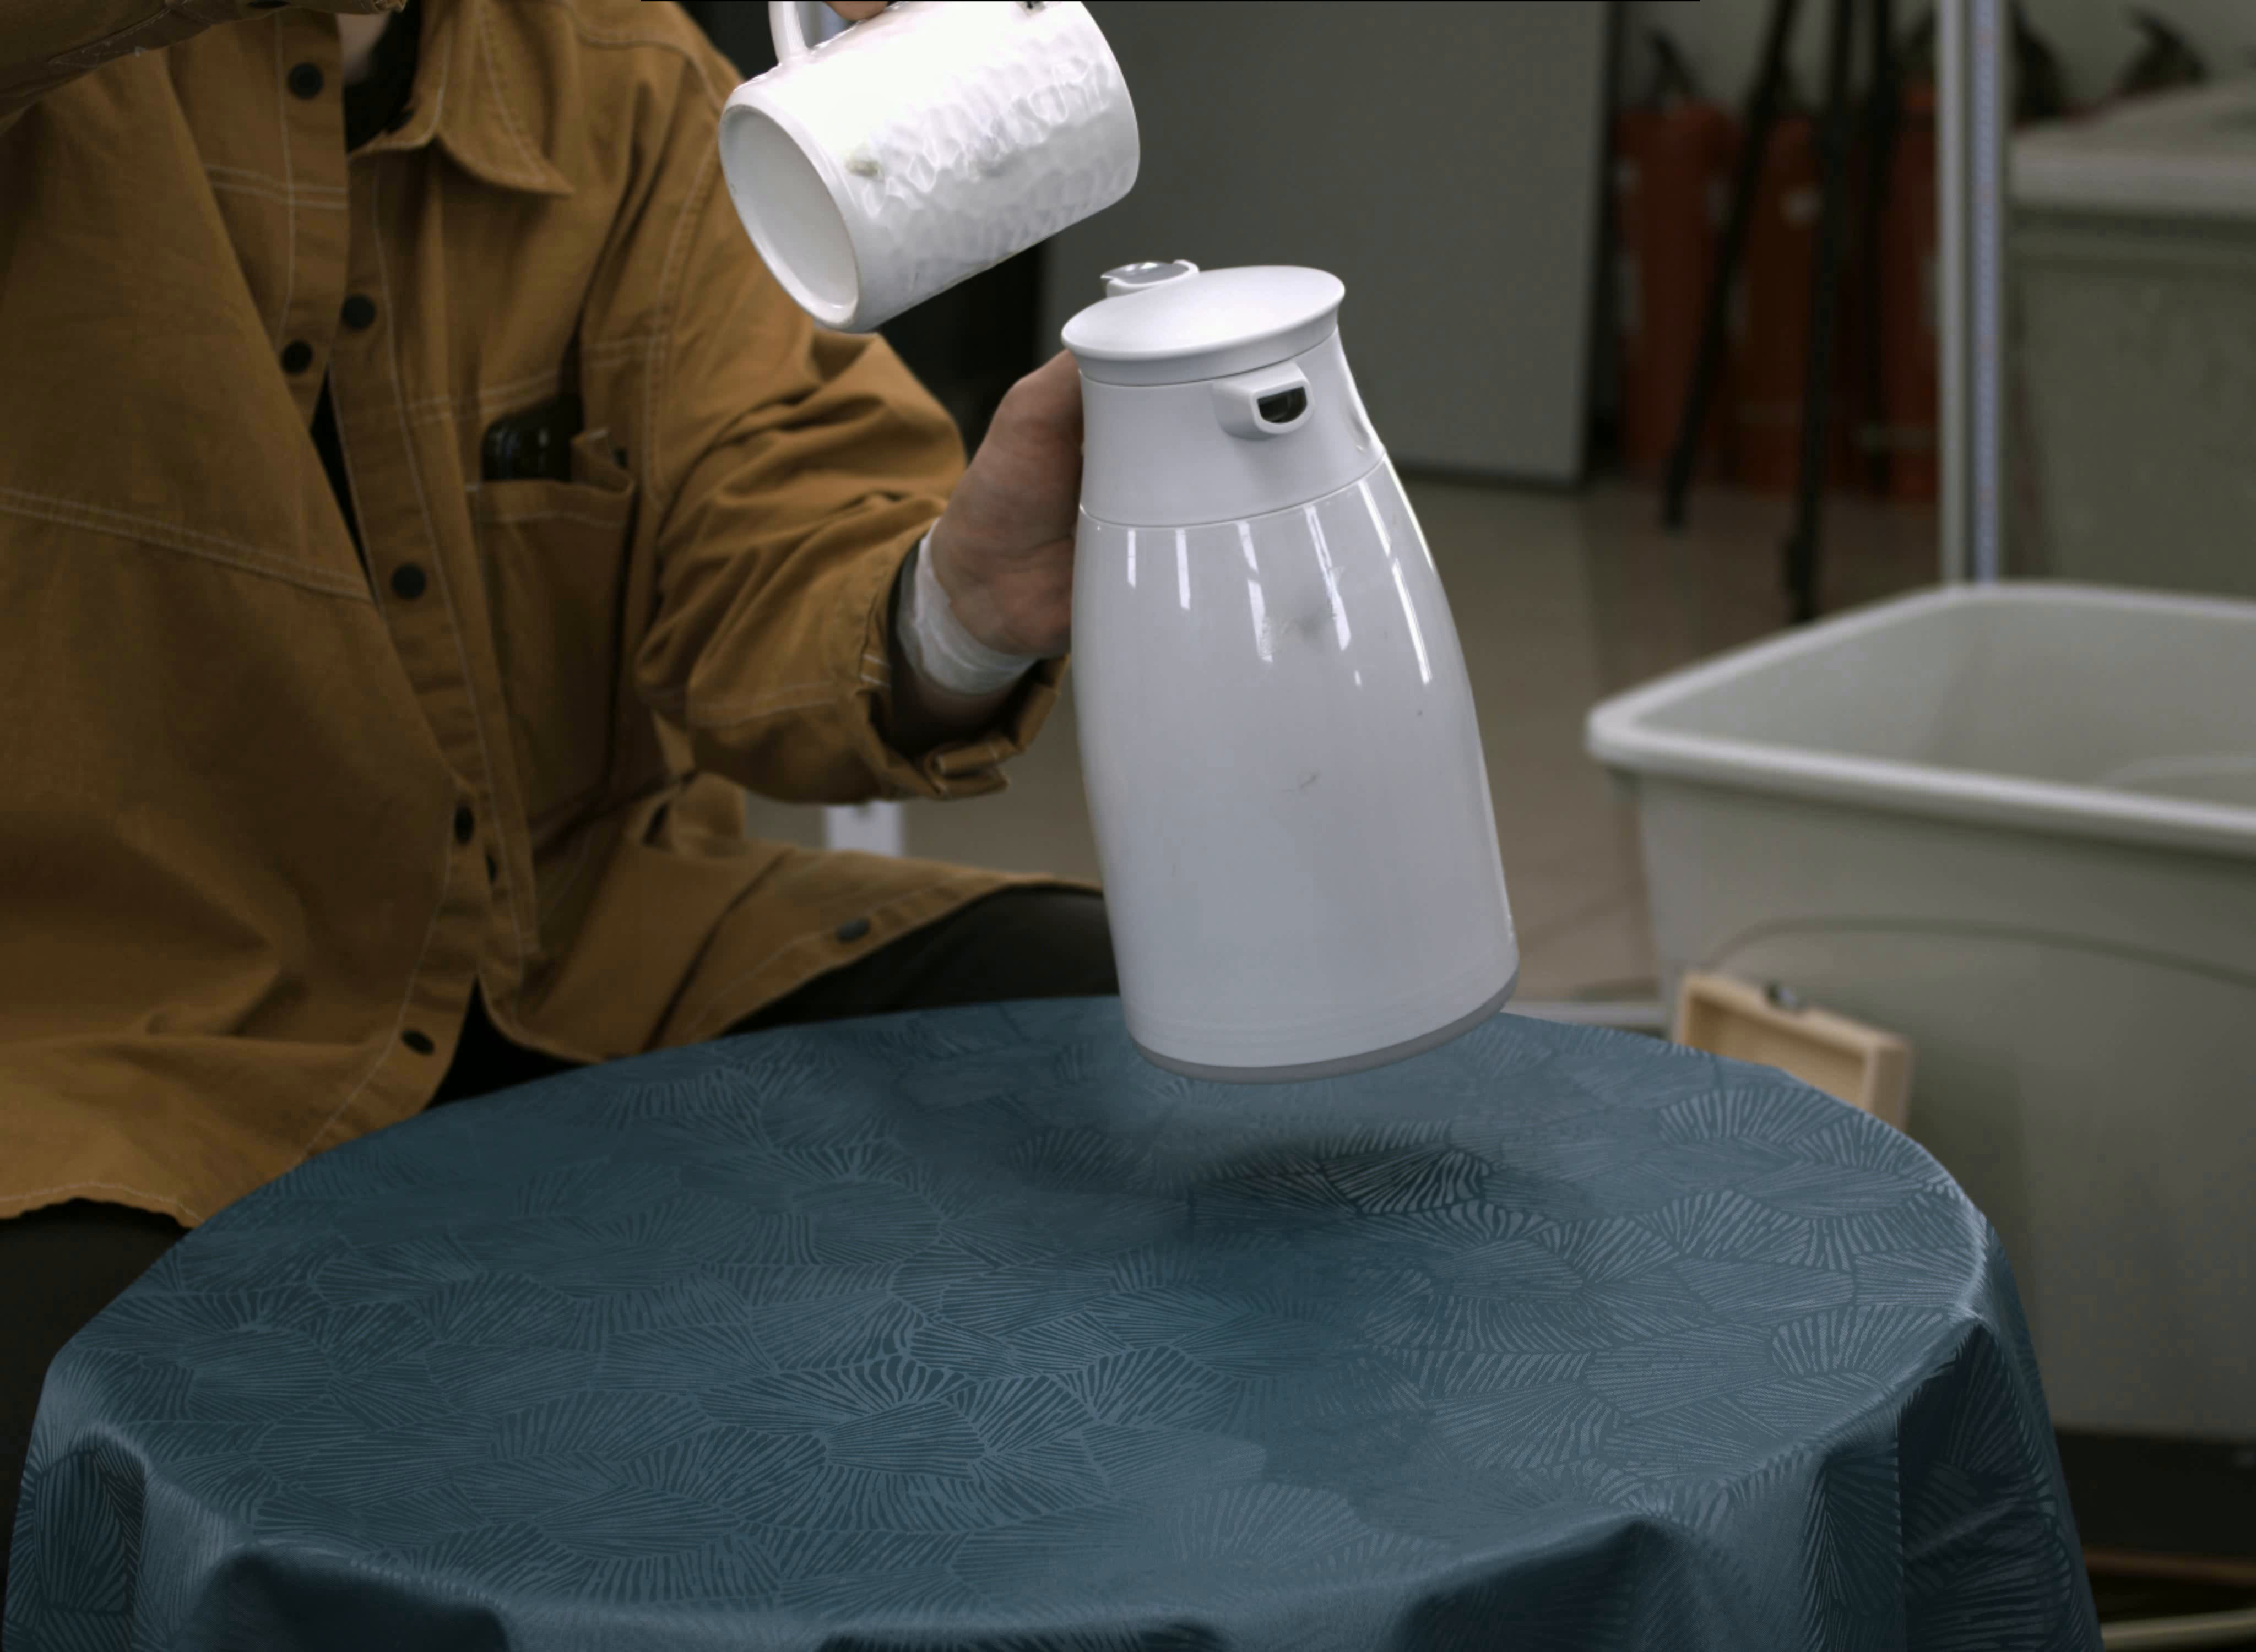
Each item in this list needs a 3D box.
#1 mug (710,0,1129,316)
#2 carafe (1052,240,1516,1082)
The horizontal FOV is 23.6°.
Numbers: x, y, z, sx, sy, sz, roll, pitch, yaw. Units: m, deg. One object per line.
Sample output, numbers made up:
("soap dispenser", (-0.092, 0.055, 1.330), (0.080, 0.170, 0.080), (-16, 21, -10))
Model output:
("mug", (-0.071, -0.227, 1.636), (0.100, 0.119, 0.086), (-31, 10, -21))
("carafe", (0.033, -0.063, 1.749), (0.130, 0.250, 0.169), (-18, 19, -16))
